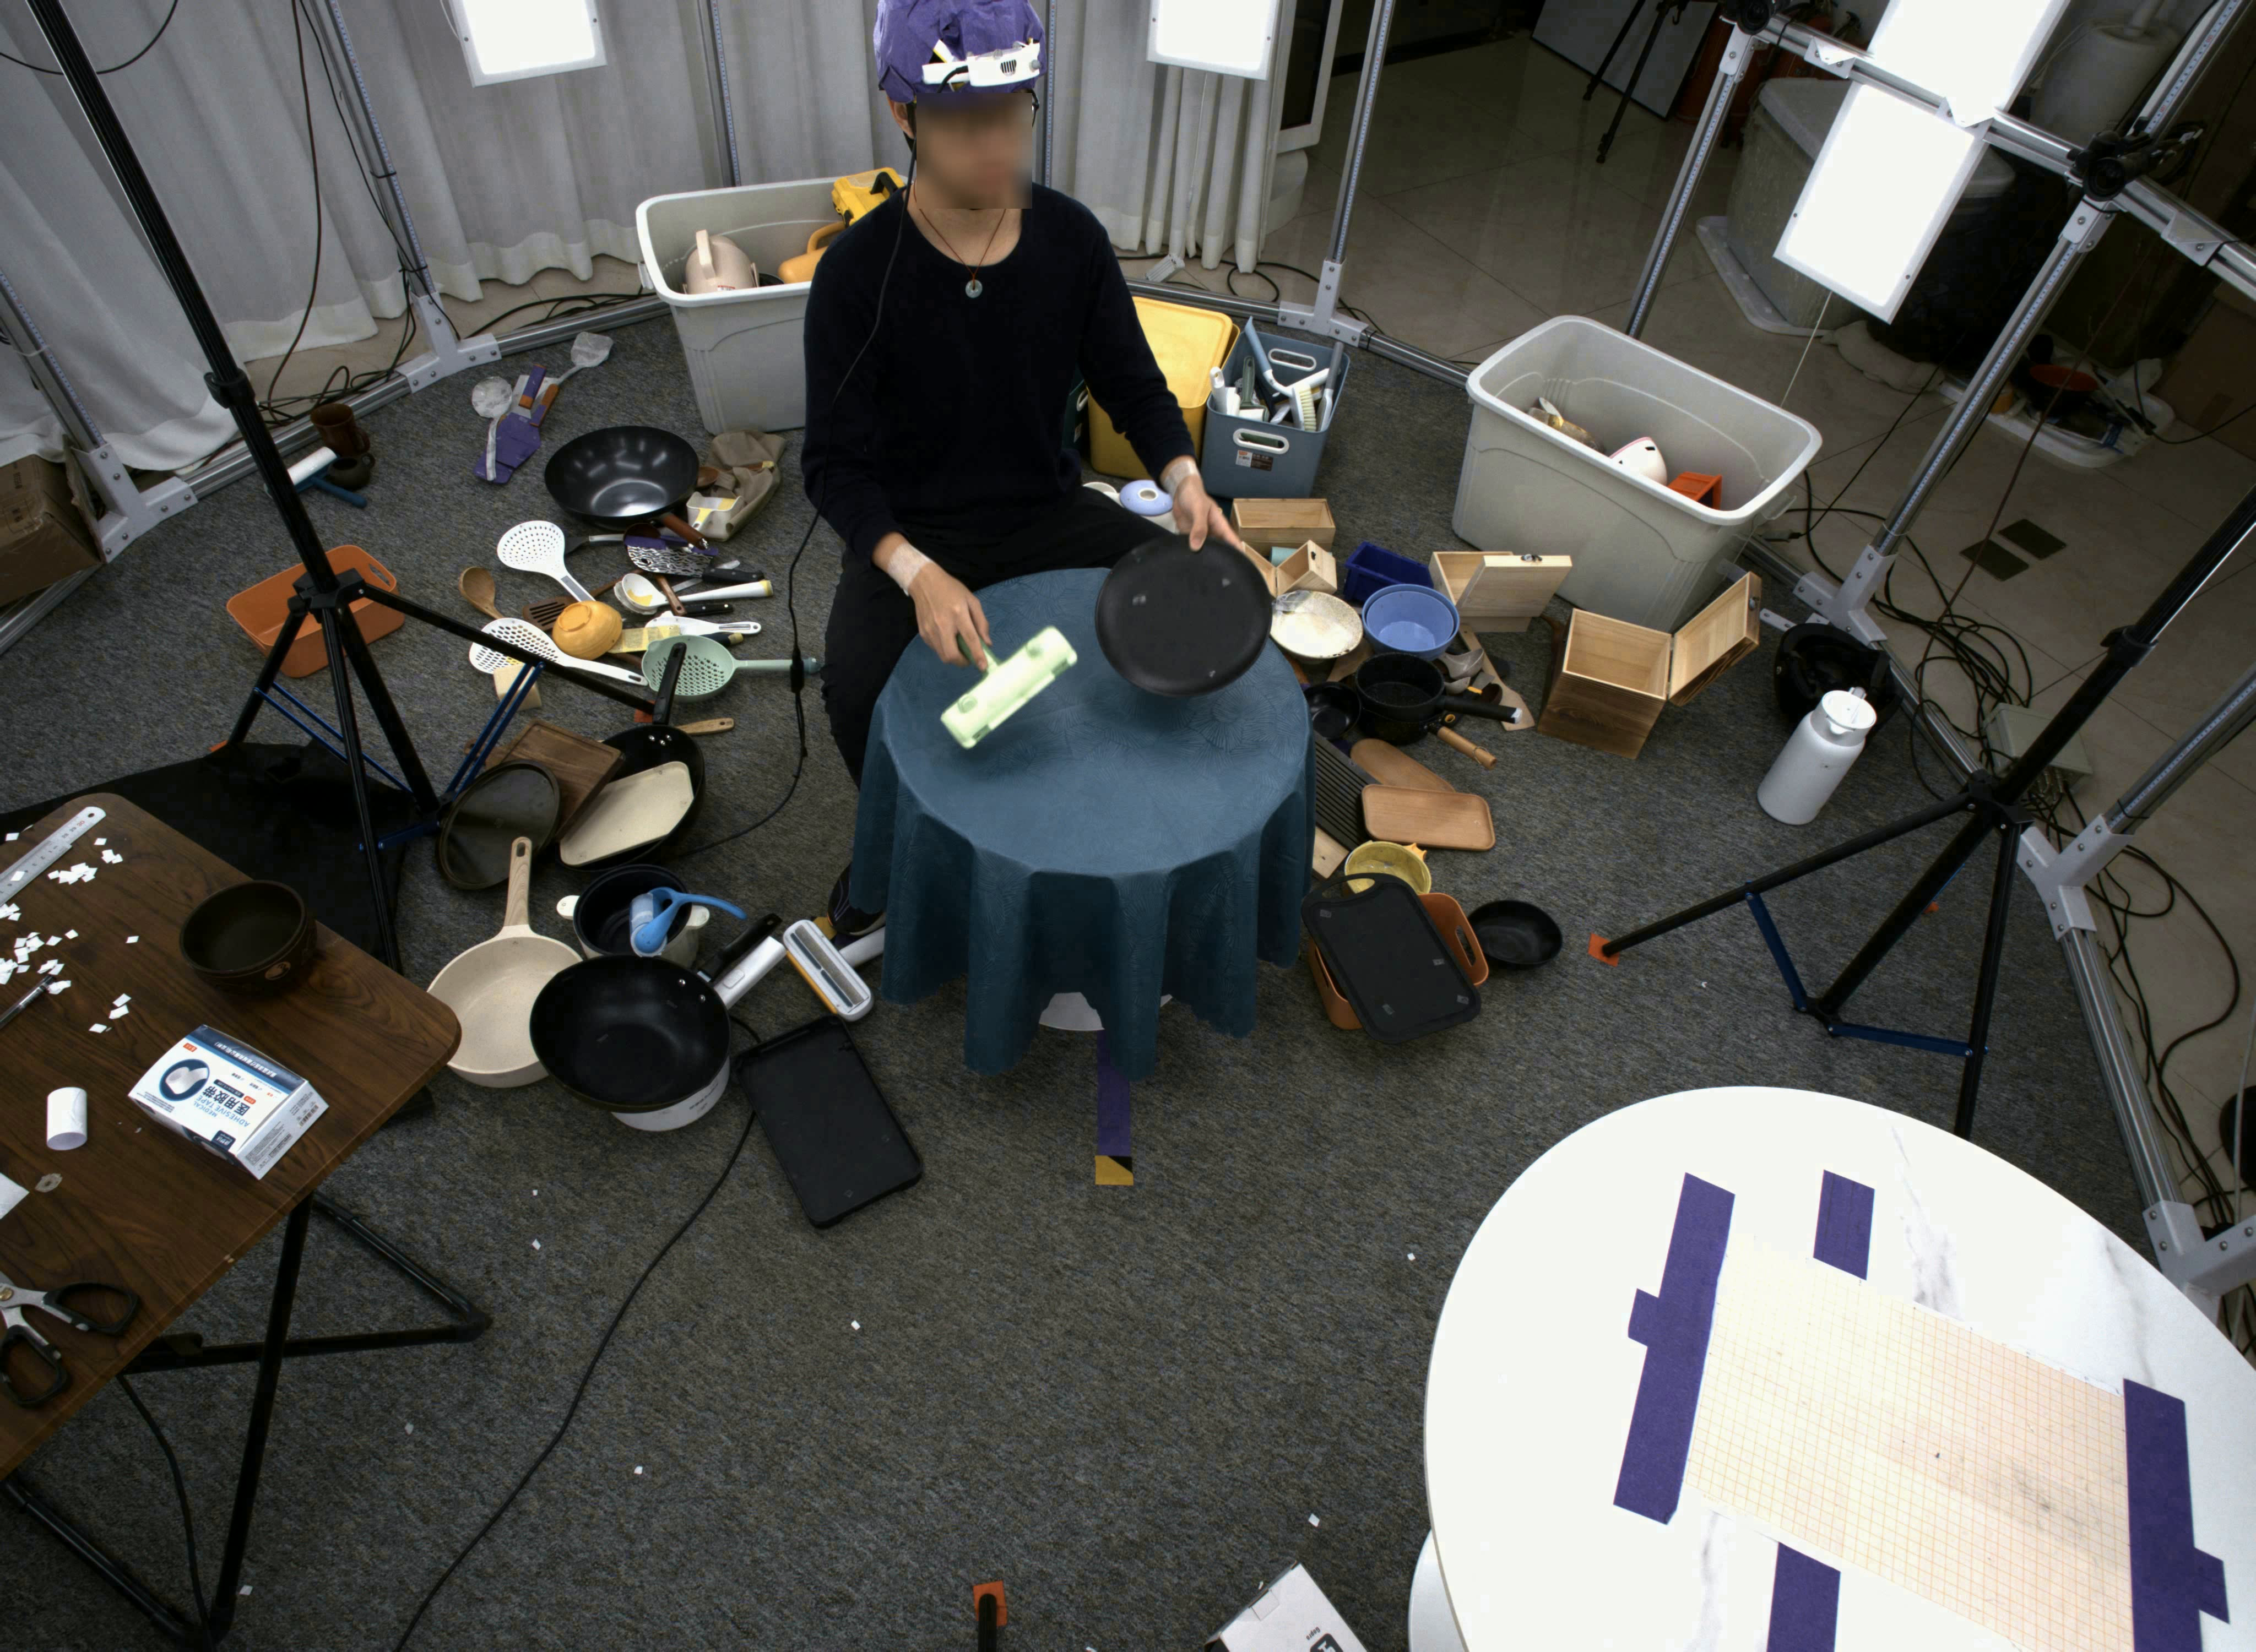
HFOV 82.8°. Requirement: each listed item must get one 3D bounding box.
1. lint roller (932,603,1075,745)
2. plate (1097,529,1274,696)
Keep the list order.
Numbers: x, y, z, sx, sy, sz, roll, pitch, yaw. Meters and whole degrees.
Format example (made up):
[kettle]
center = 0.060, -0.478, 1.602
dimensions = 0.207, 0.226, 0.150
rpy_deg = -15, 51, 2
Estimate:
[lint roller]
center = -0.199, -0.236, 1.710
dimensions = 0.199, 0.081, 0.184
rpy_deg = -42, 85, -5
[plate]
center = 0.078, -0.293, 1.767
dimensions = 0.244, 0.023, 0.247
rpy_deg = -2, 74, 6
